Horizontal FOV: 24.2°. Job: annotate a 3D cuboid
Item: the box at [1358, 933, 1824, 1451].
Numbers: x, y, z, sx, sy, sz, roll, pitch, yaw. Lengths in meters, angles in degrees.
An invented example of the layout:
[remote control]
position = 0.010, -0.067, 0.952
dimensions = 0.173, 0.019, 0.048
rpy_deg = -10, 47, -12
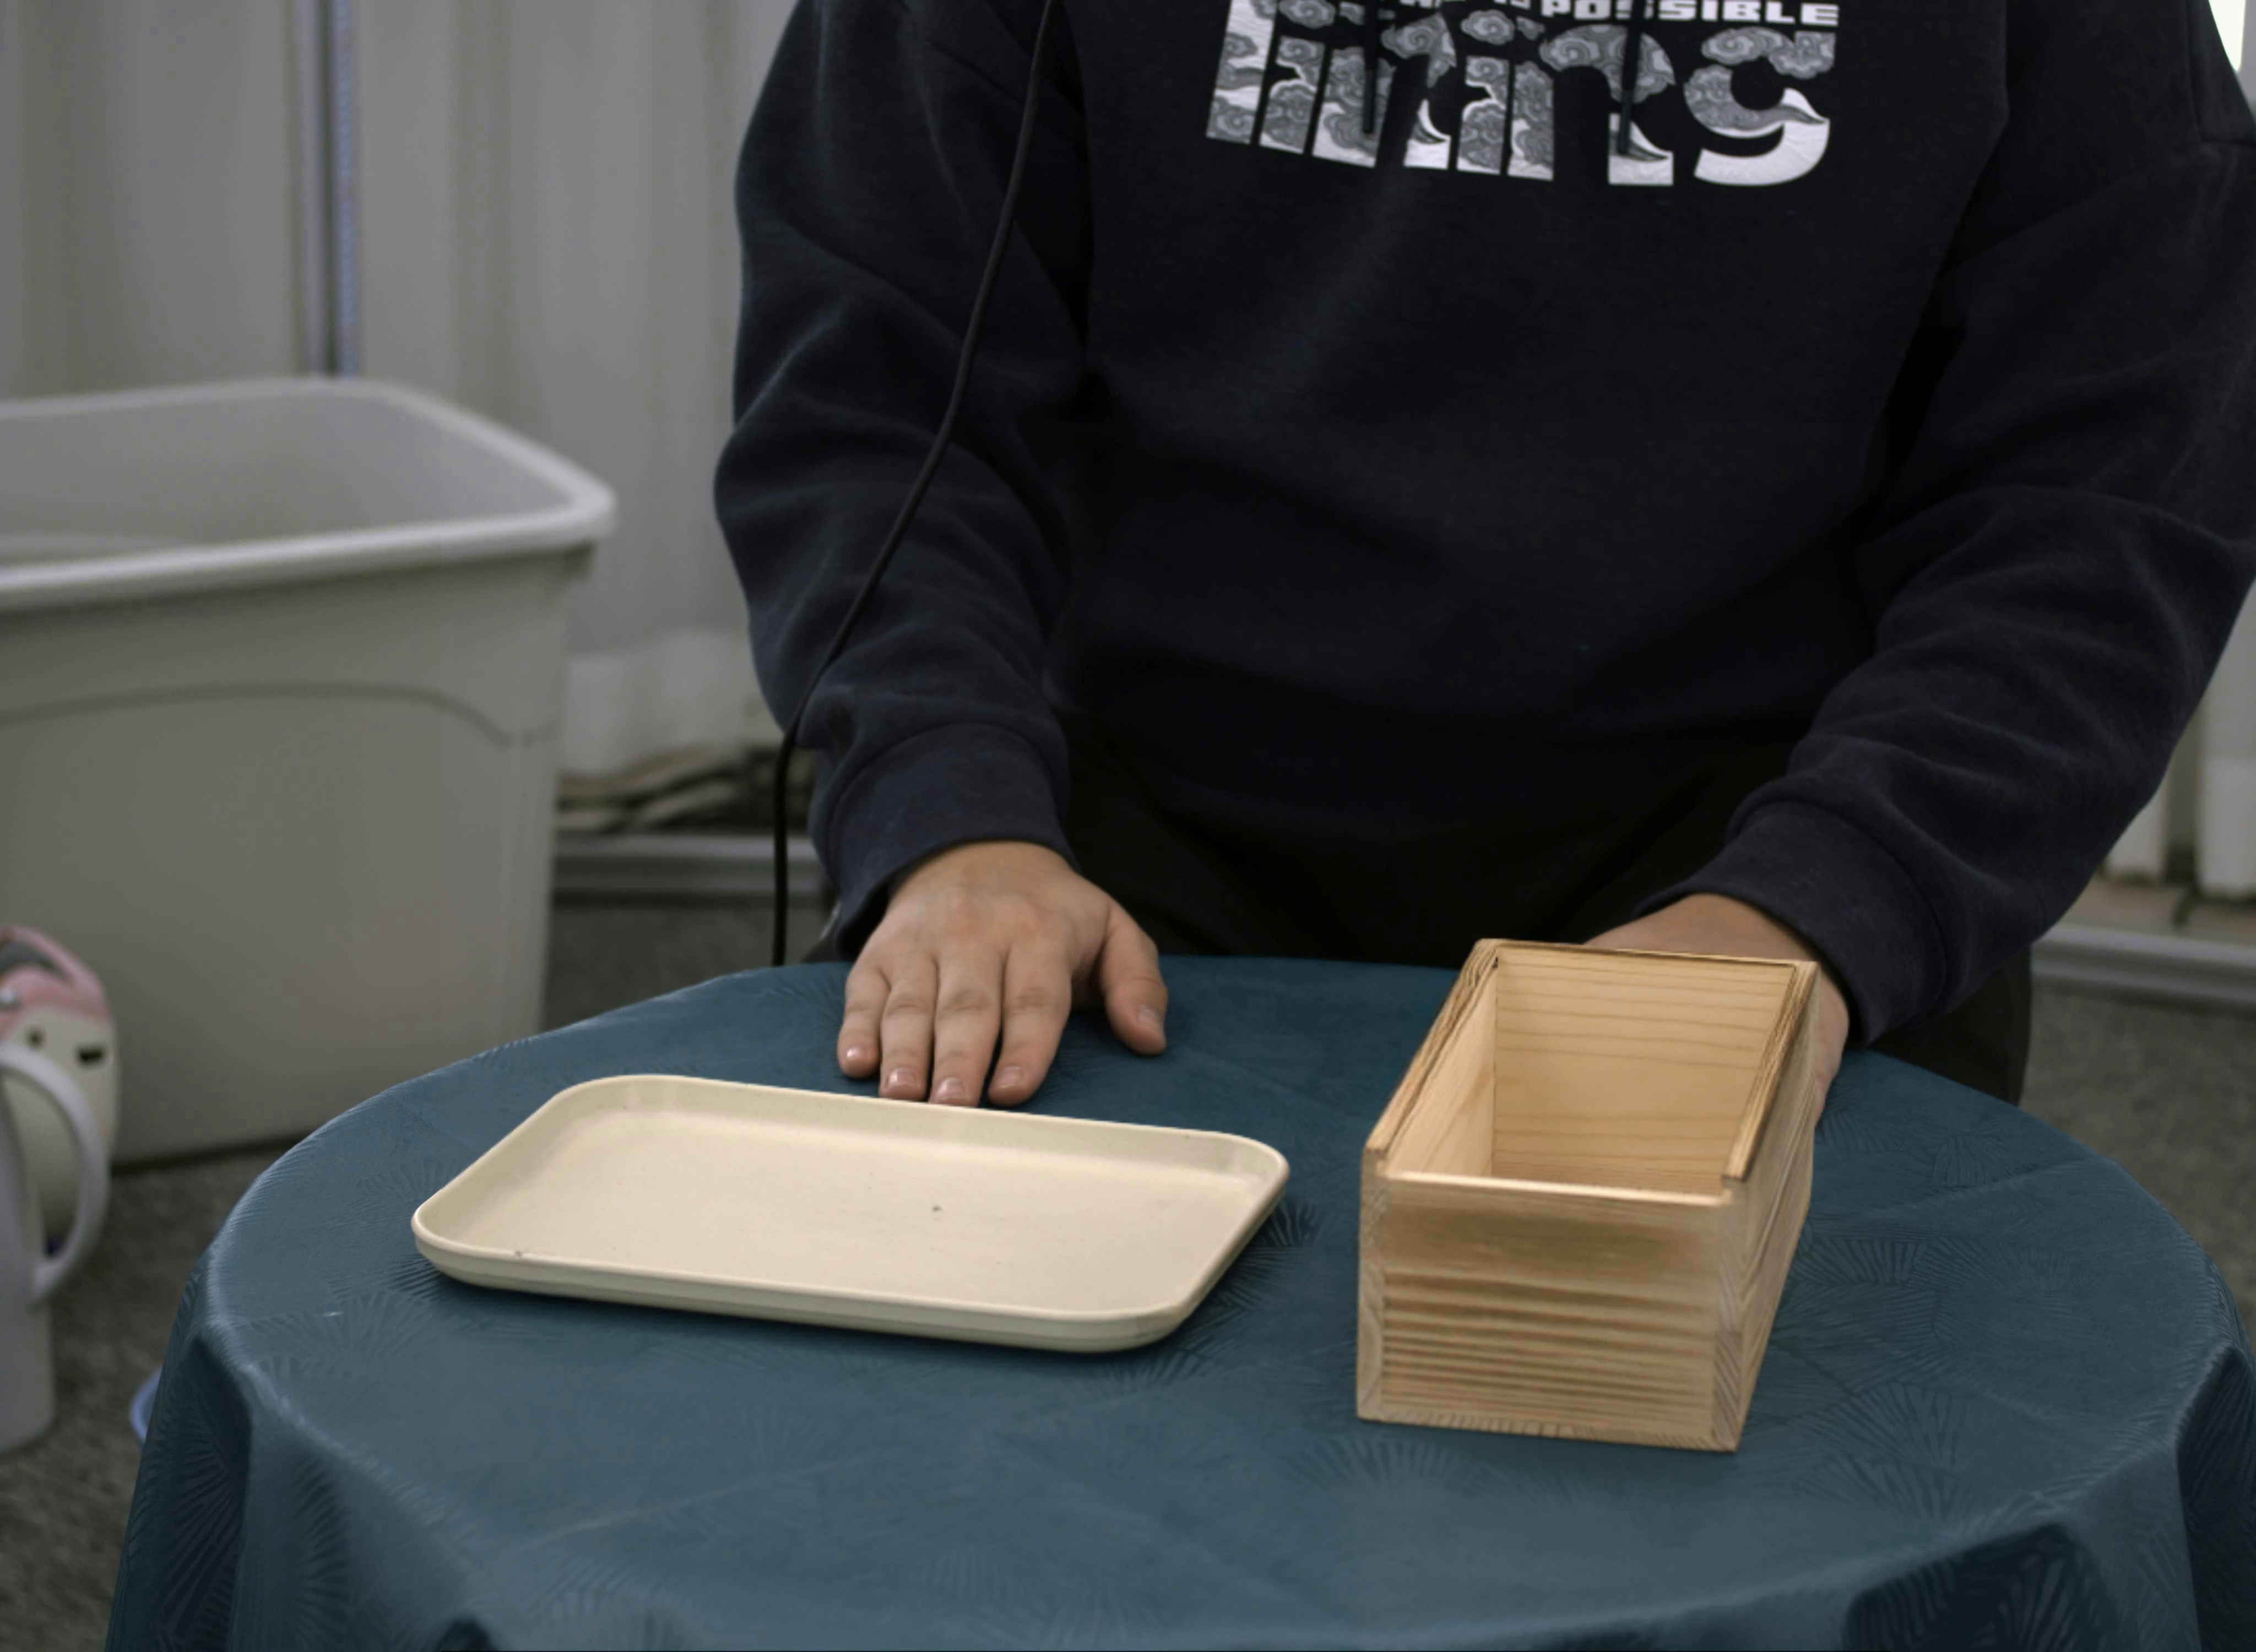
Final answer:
[box]
position = 0.137, 0.101, 1.523
dimensions = 0.107, 0.081, 0.211
rpy_deg = 4, 16, 11

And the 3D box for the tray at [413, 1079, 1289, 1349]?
[tray]
position = -0.080, 0.116, 1.577
dimensions = 0.238, 0.017, 0.171
rpy_deg = 5, 15, 14
